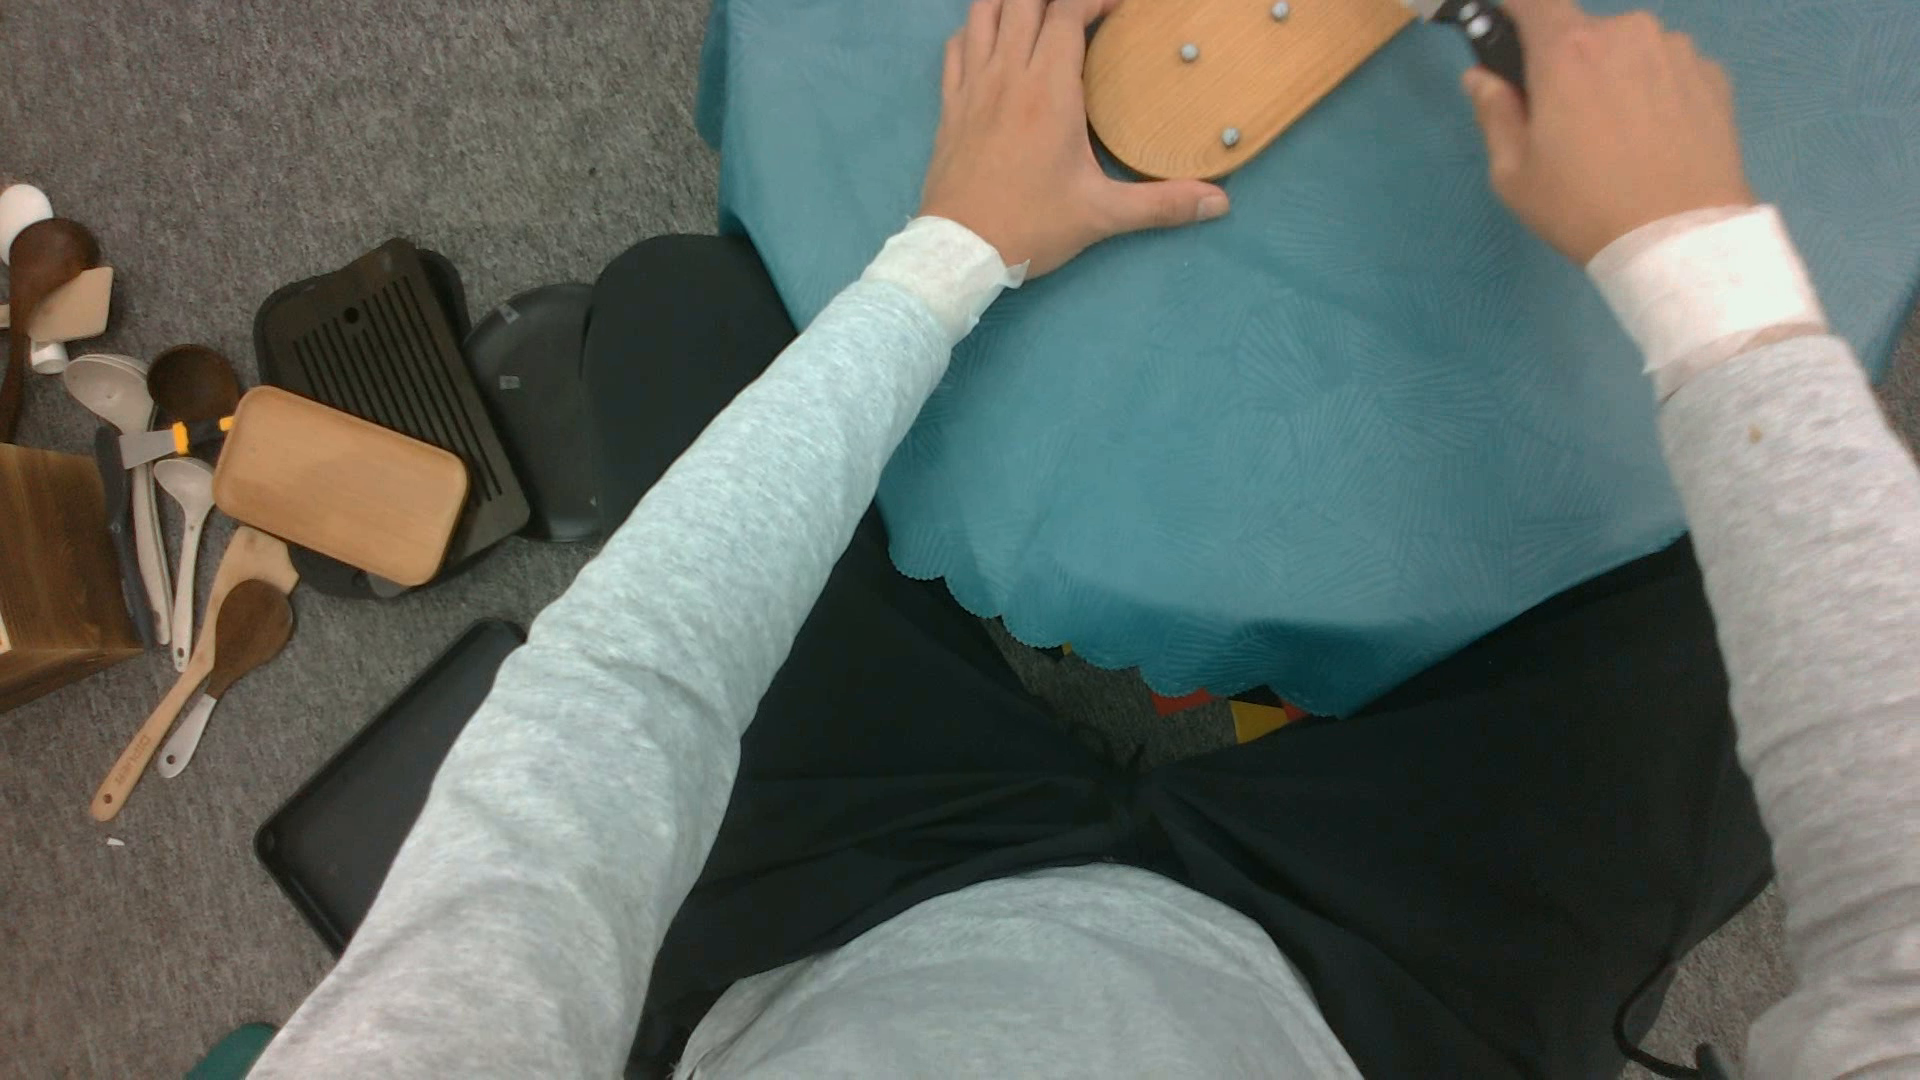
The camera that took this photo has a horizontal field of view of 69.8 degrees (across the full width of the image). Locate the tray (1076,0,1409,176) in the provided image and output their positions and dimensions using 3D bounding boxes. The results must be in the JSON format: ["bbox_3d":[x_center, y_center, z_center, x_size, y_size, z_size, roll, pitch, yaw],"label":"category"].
[{"bbox_3d":[0.155,-0.272,0.672,0.231,0.020,0.102,-43,84,0],"label":"tray"}]

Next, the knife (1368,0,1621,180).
[{"bbox_3d":[0.197,-0.237,0.603,0.238,0.016,0.024,50,122,23],"label":"knife"}]
